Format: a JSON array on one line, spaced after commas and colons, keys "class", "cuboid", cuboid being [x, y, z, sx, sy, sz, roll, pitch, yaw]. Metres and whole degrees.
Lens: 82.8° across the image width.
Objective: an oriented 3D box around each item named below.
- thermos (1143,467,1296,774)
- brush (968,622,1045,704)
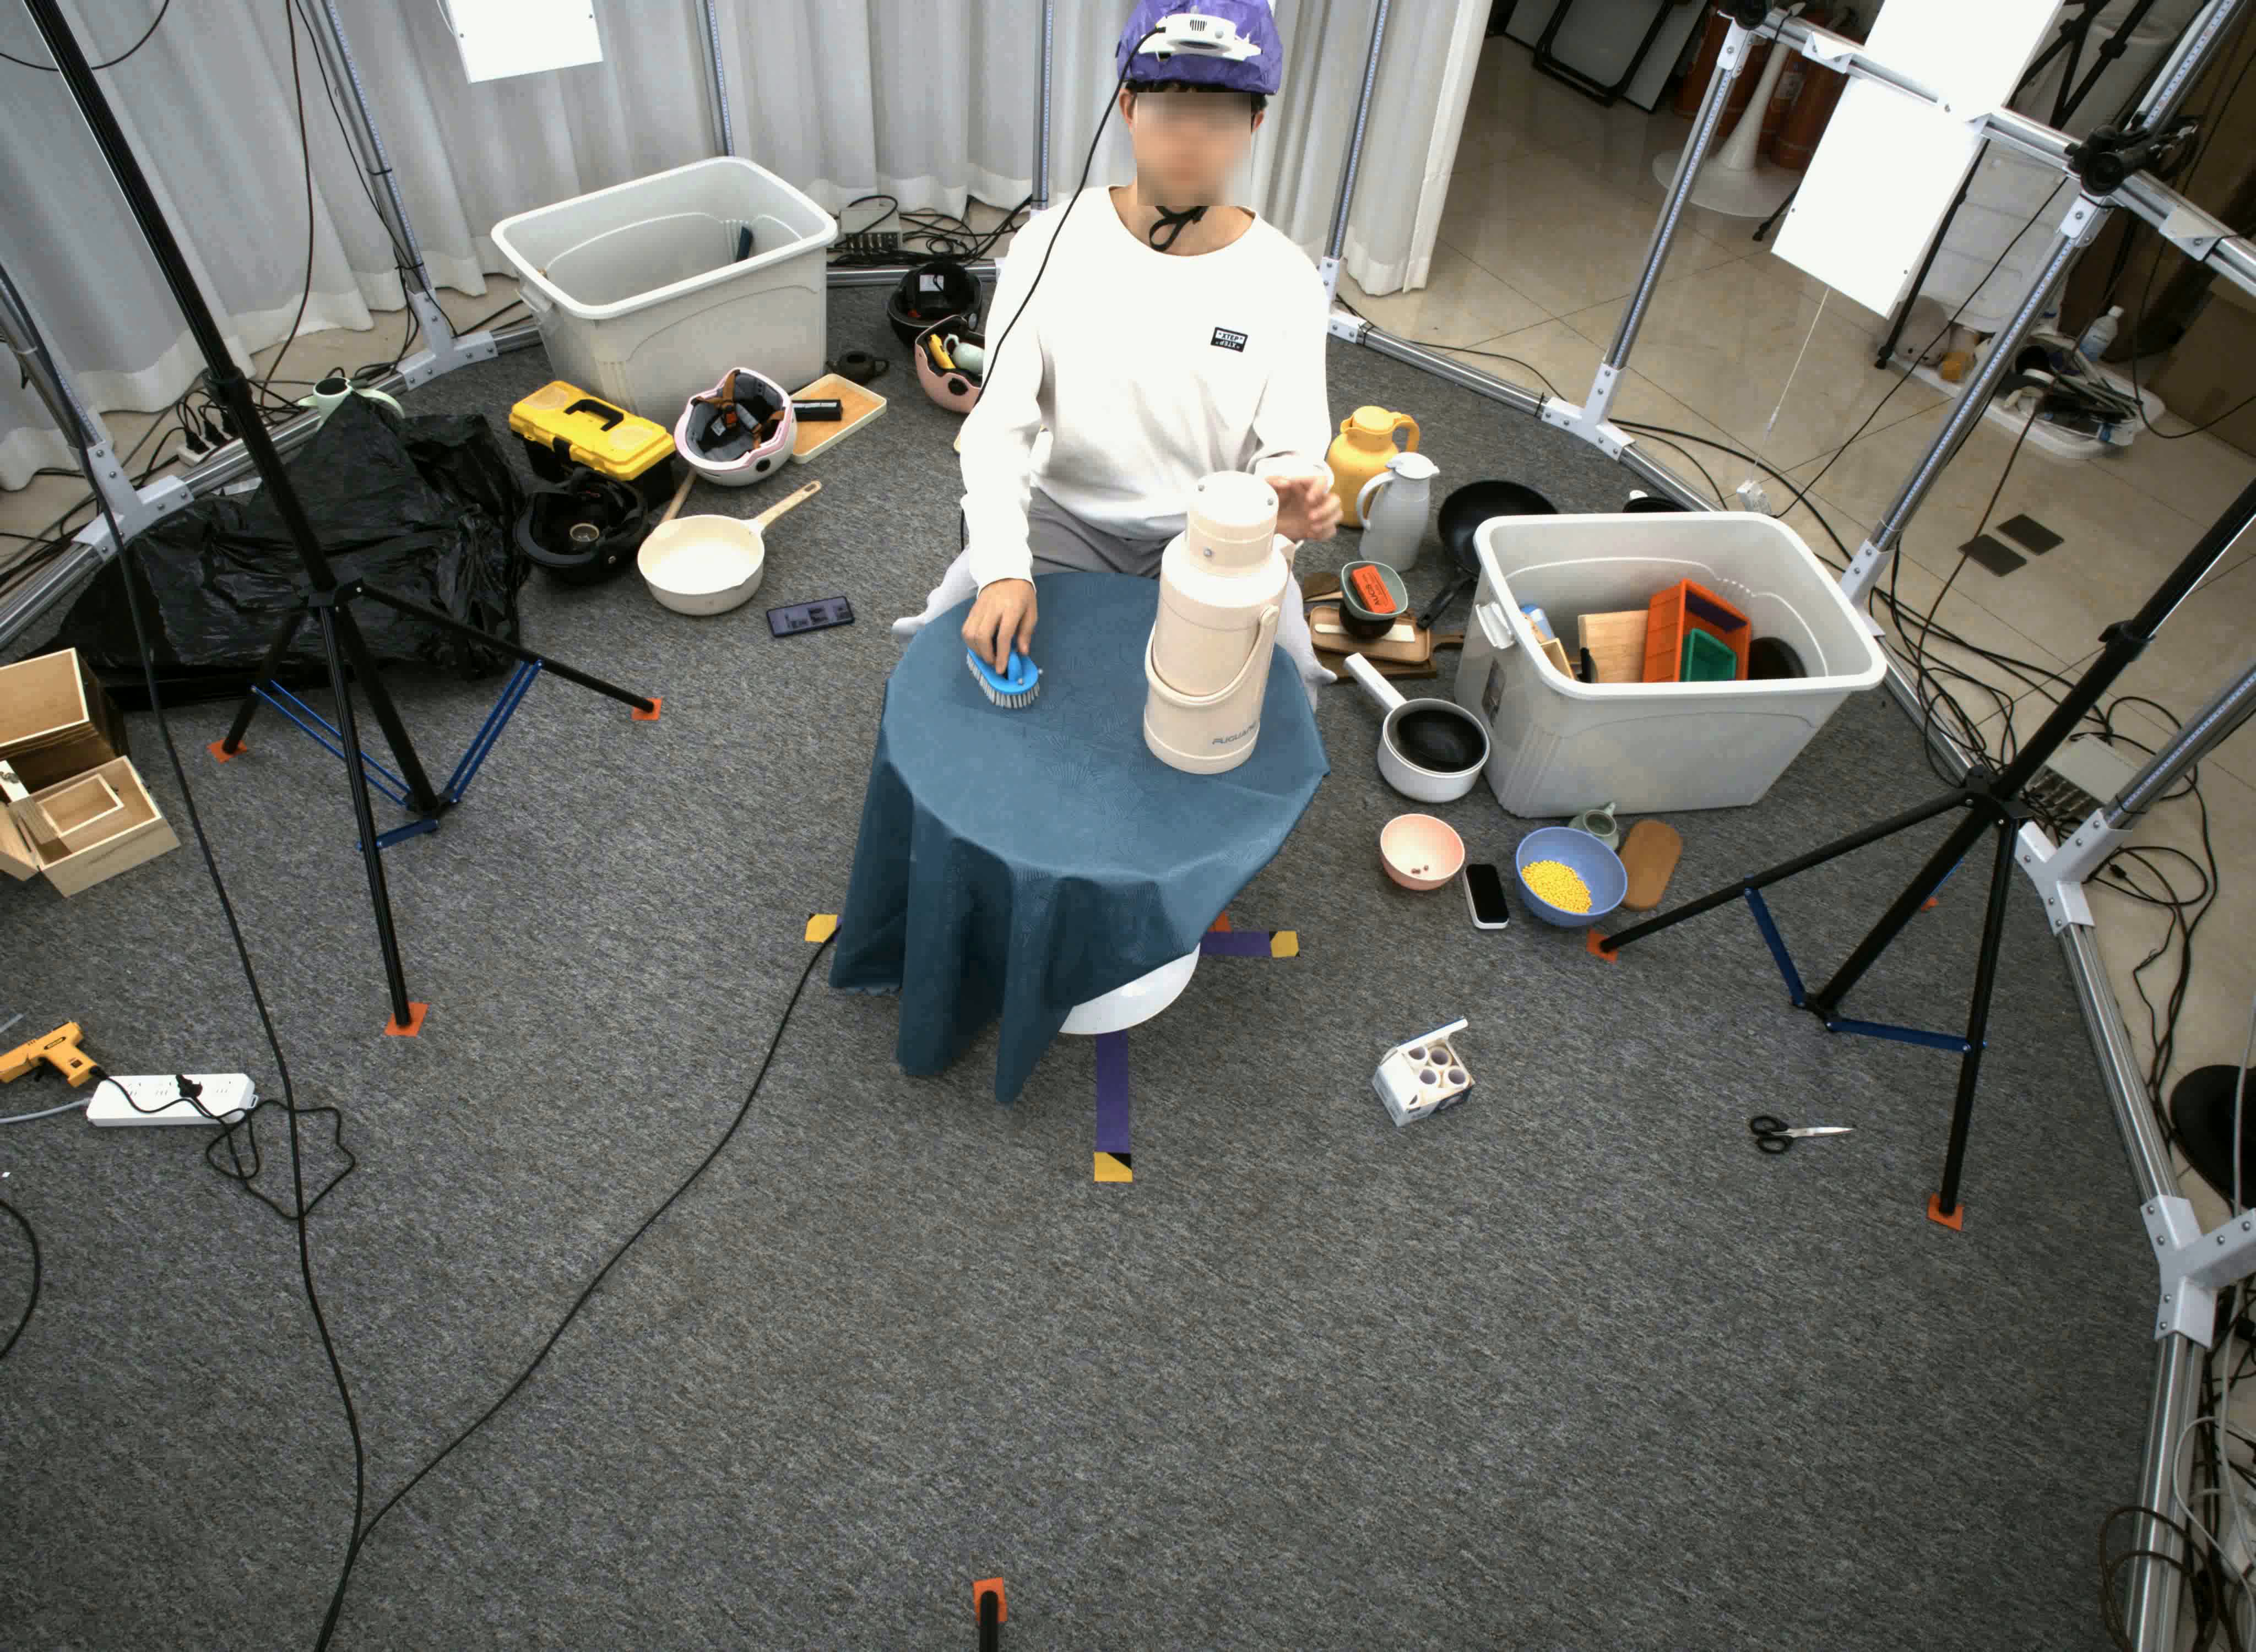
[{"class": "thermos", "cuboid": [0.124, -0.263, 1.645, 0.208, 0.396, 0.178, -31, 57, -28]}, {"class": "brush", "cuboid": [-0.174, -0.241, 1.816, 0.084, 0.062, 0.145, -21, 54, -16]}]
